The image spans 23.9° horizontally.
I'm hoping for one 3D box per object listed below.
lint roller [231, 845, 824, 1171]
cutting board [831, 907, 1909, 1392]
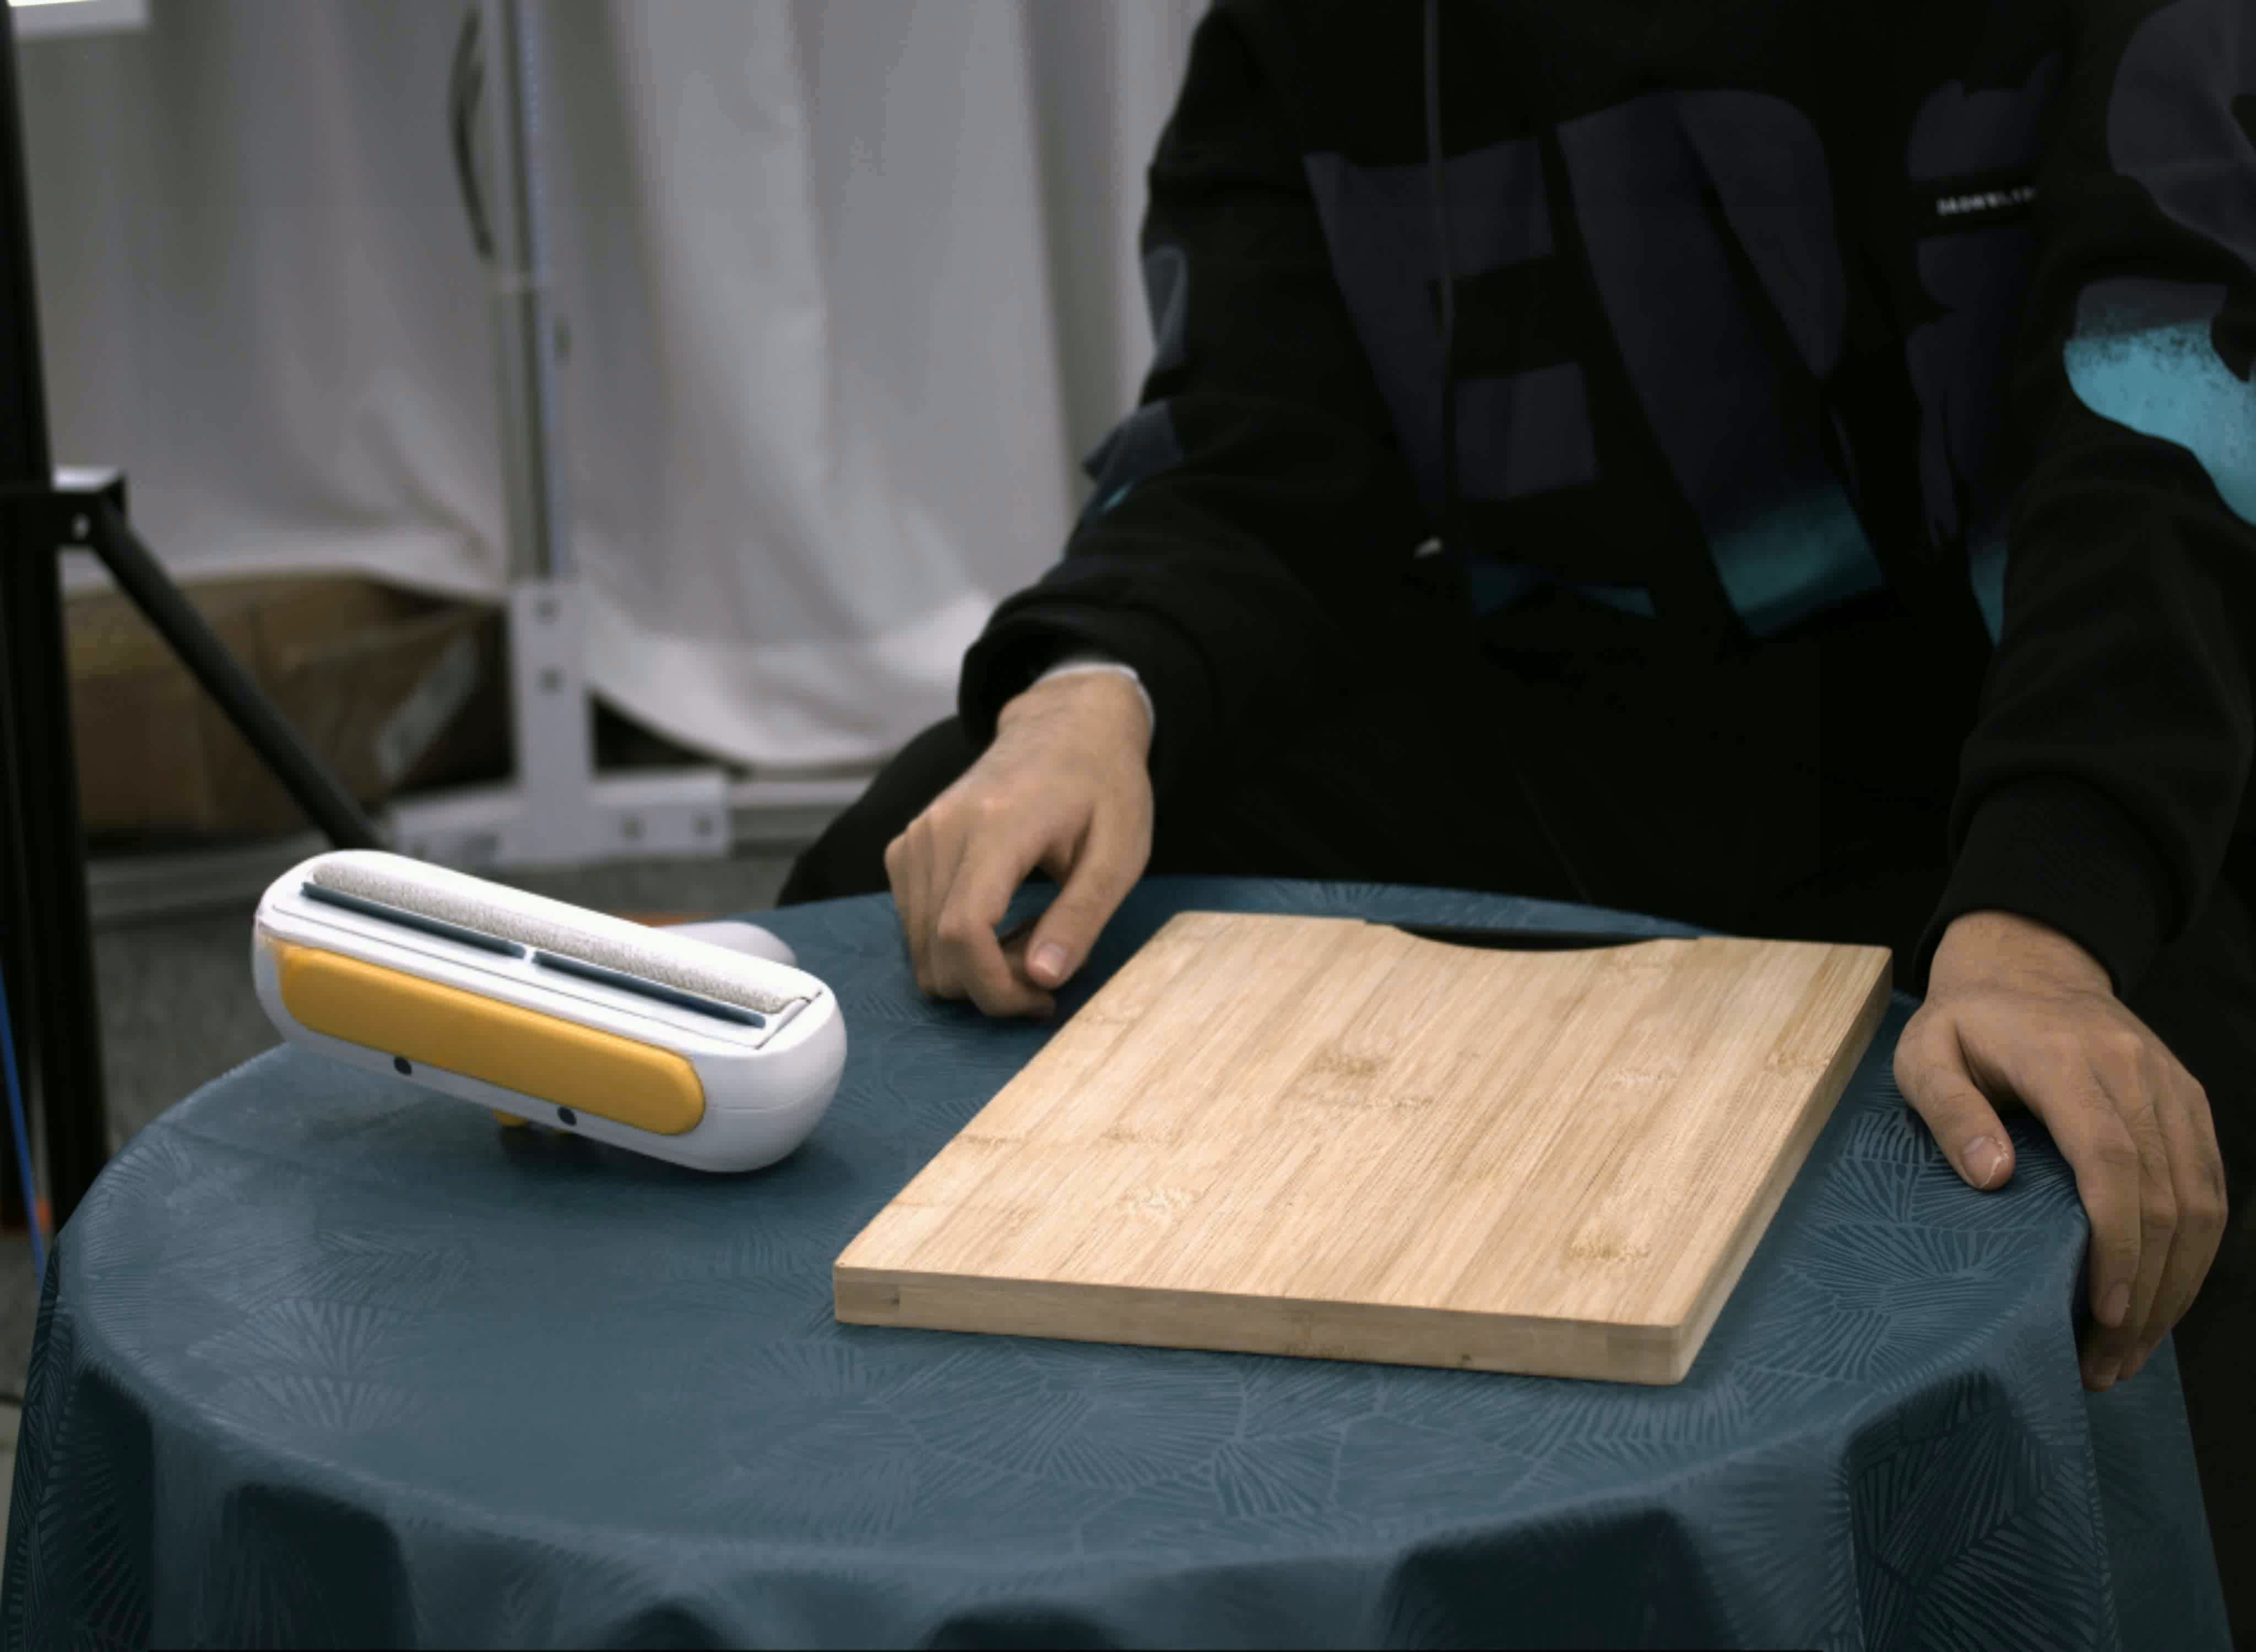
[{"bbox_3d":[-0.158,0.047,1.676,0.196,0.074,0.189,12,19,27],"label":"lint roller"},{"bbox_3d":[0.083,0.089,1.584,0.253,0.023,0.345,2,17,17],"label":"cutting board"}]
